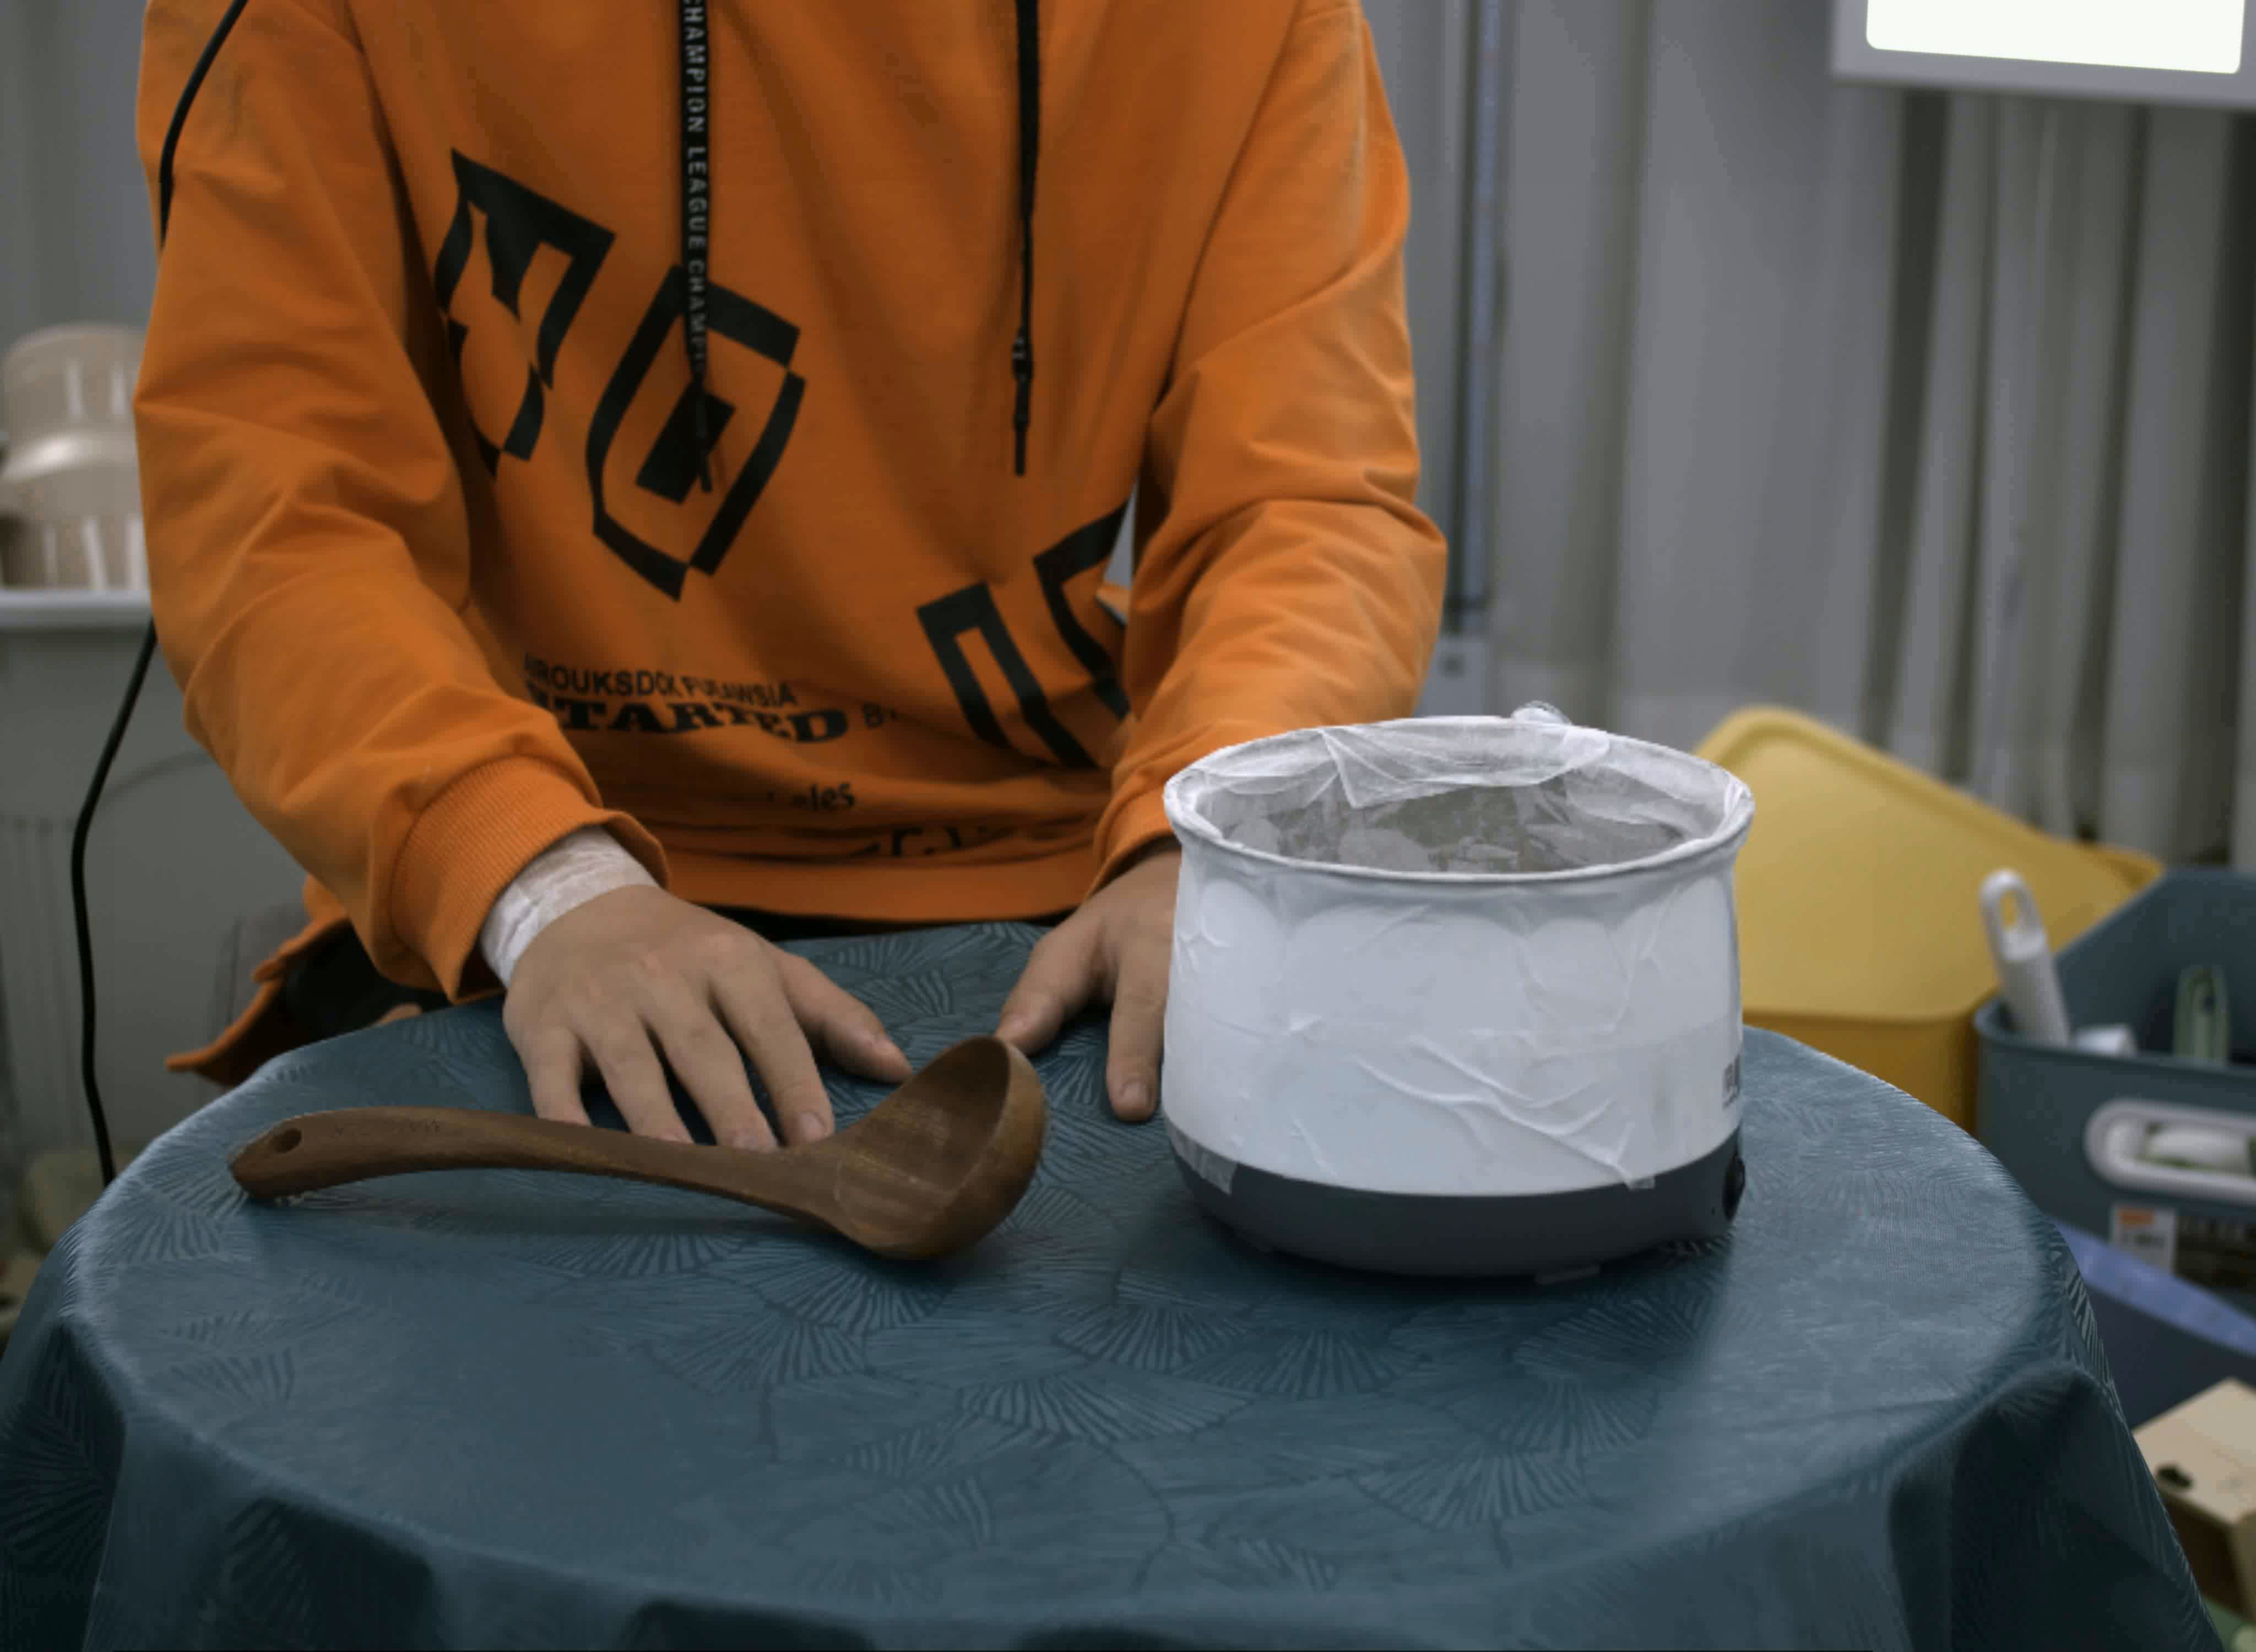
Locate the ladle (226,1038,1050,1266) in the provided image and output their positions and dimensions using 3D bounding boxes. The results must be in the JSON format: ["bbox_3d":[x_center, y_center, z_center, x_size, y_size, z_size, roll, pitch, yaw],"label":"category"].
[{"bbox_3d":[-0.150,0.092,1.578,0.258,0.066,0.076,4,42,9],"label":"ladle"}]

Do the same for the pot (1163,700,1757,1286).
[{"bbox_3d":[0.106,0.044,1.614,0.177,0.138,0.233,5,17,15],"label":"pot"}]
